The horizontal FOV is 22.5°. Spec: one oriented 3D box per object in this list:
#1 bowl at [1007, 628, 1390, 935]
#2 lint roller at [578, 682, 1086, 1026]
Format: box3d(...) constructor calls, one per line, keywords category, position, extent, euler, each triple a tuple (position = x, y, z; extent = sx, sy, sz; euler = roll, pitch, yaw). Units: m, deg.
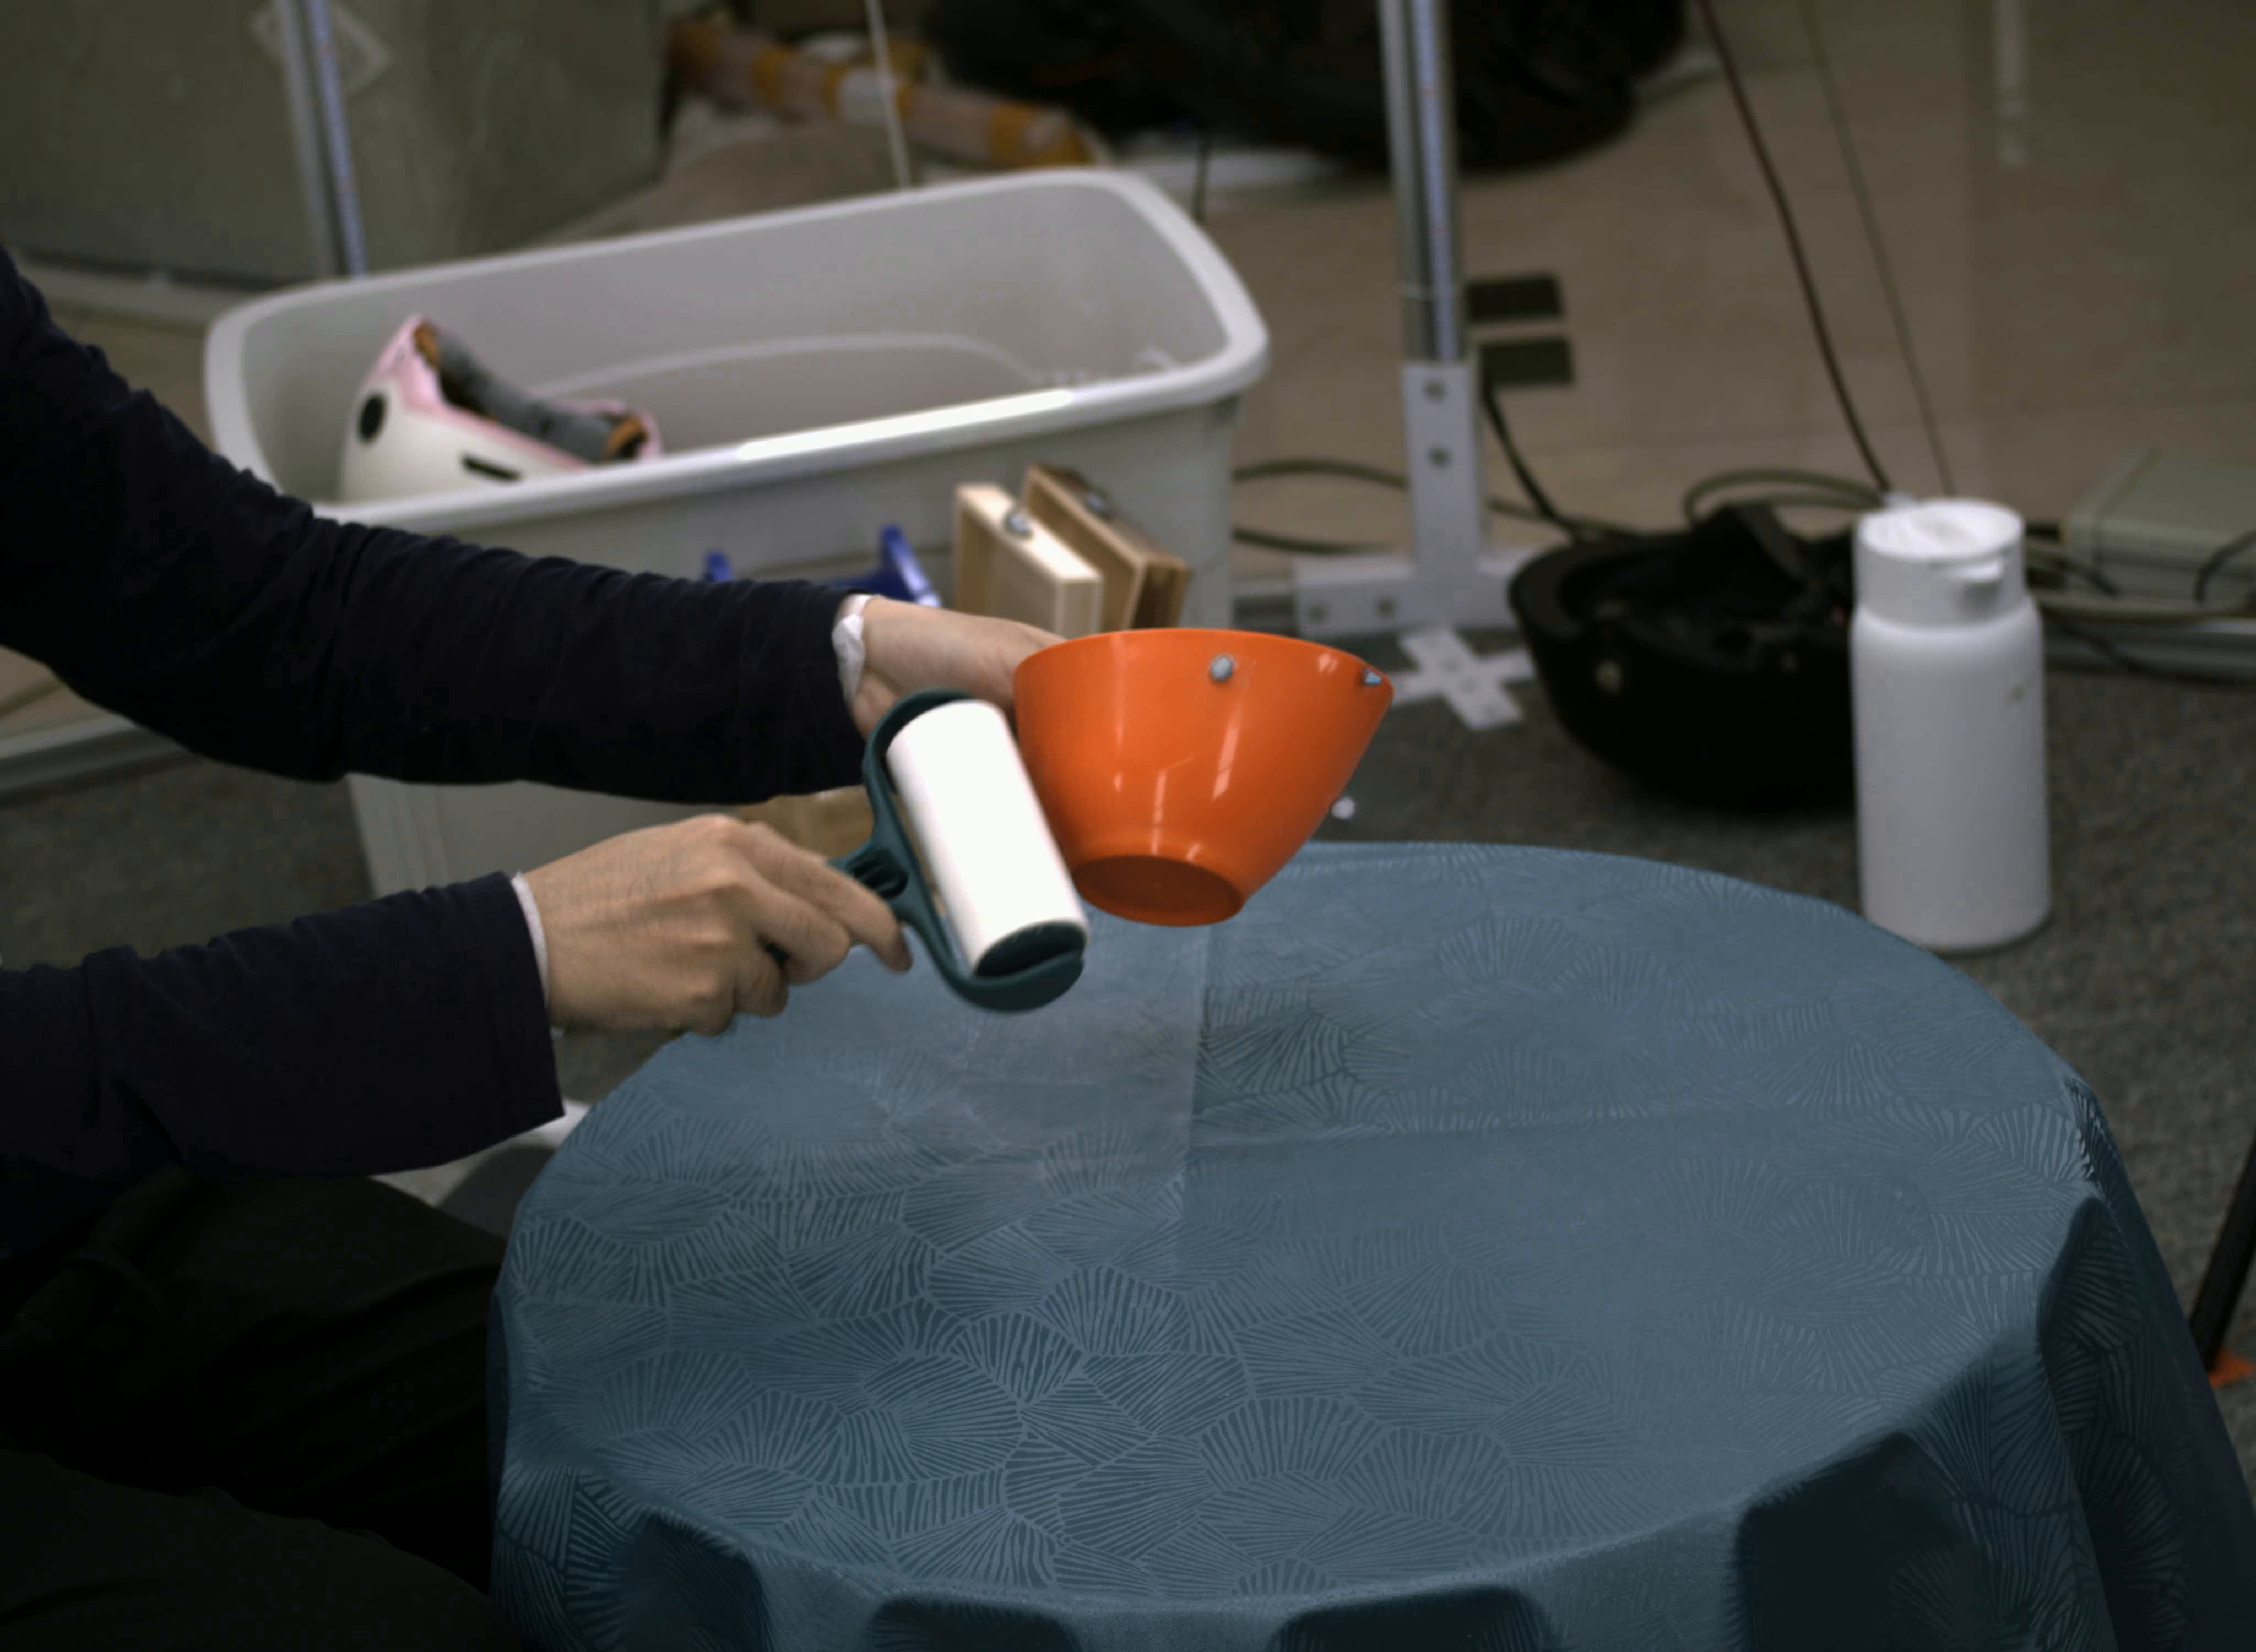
box3d(category="bowl", position=(0.023, -0.014, 2.172), extent=(0.148, 0.150, 0.103), euler=(0, 65, 13))
box3d(category="lint roller", position=(-0.116, 0.029, 2.083), extent=(0.179, 0.049, 0.132), euler=(-16, 62, -13))
